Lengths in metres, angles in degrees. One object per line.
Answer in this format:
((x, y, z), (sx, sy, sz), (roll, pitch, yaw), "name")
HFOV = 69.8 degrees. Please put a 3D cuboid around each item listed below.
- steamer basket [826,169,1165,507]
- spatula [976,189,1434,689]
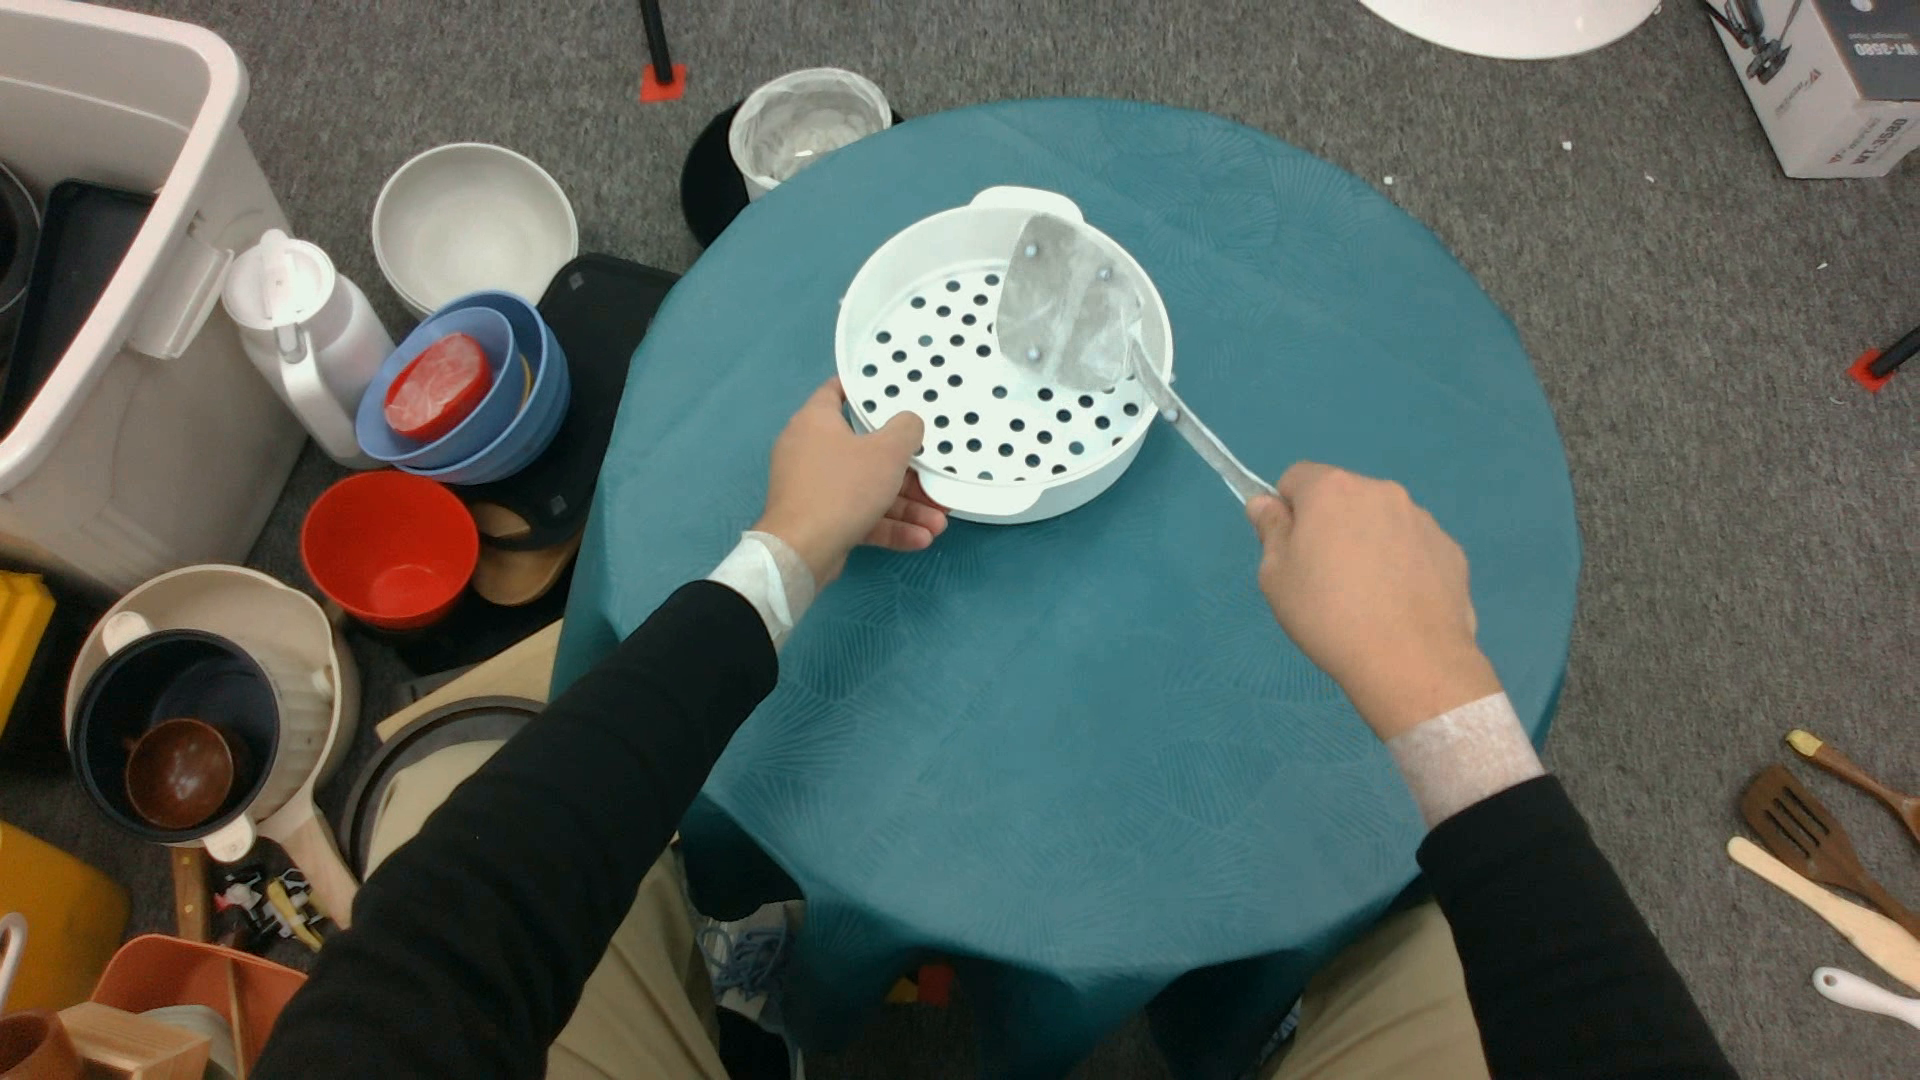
((0.021, -0.117, 0.844), (0.202, 0.069, 0.231), (9, 66, 3), "steamer basket")
((0.117, -0.058, 0.714), (0.045, 0.098, 0.365), (-2, 41, -34), "spatula")
